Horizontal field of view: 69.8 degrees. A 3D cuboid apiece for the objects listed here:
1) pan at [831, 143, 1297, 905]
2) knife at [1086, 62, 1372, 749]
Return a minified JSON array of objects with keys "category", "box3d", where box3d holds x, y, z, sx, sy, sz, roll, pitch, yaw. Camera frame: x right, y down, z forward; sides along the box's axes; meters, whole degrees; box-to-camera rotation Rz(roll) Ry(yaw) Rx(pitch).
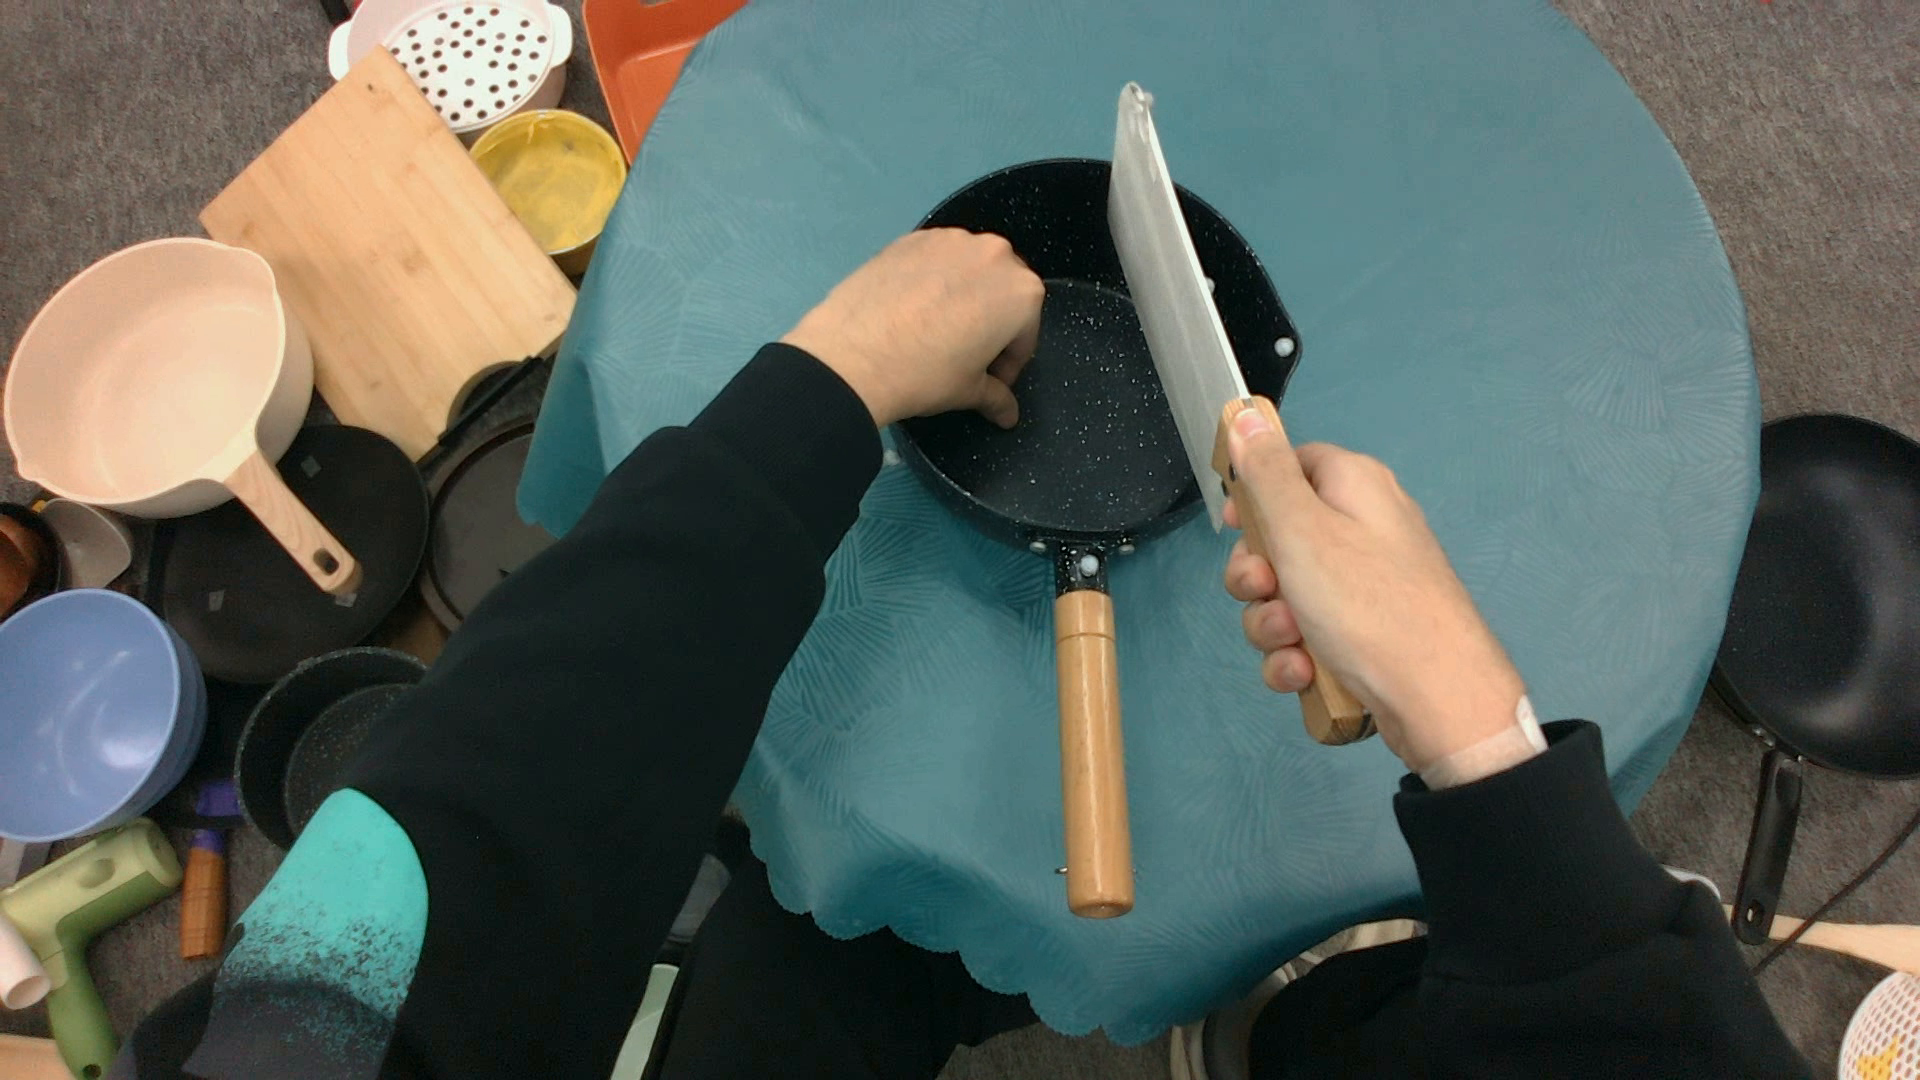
[{"category":"pan","box3d":[0.048,-0.011,0.614,0.207,0.108,0.344,-1,70,-5]},{"category":"knife","box3d":[0.093,-0.062,0.543,0.022,0.113,0.316,-11,56,-6]}]
